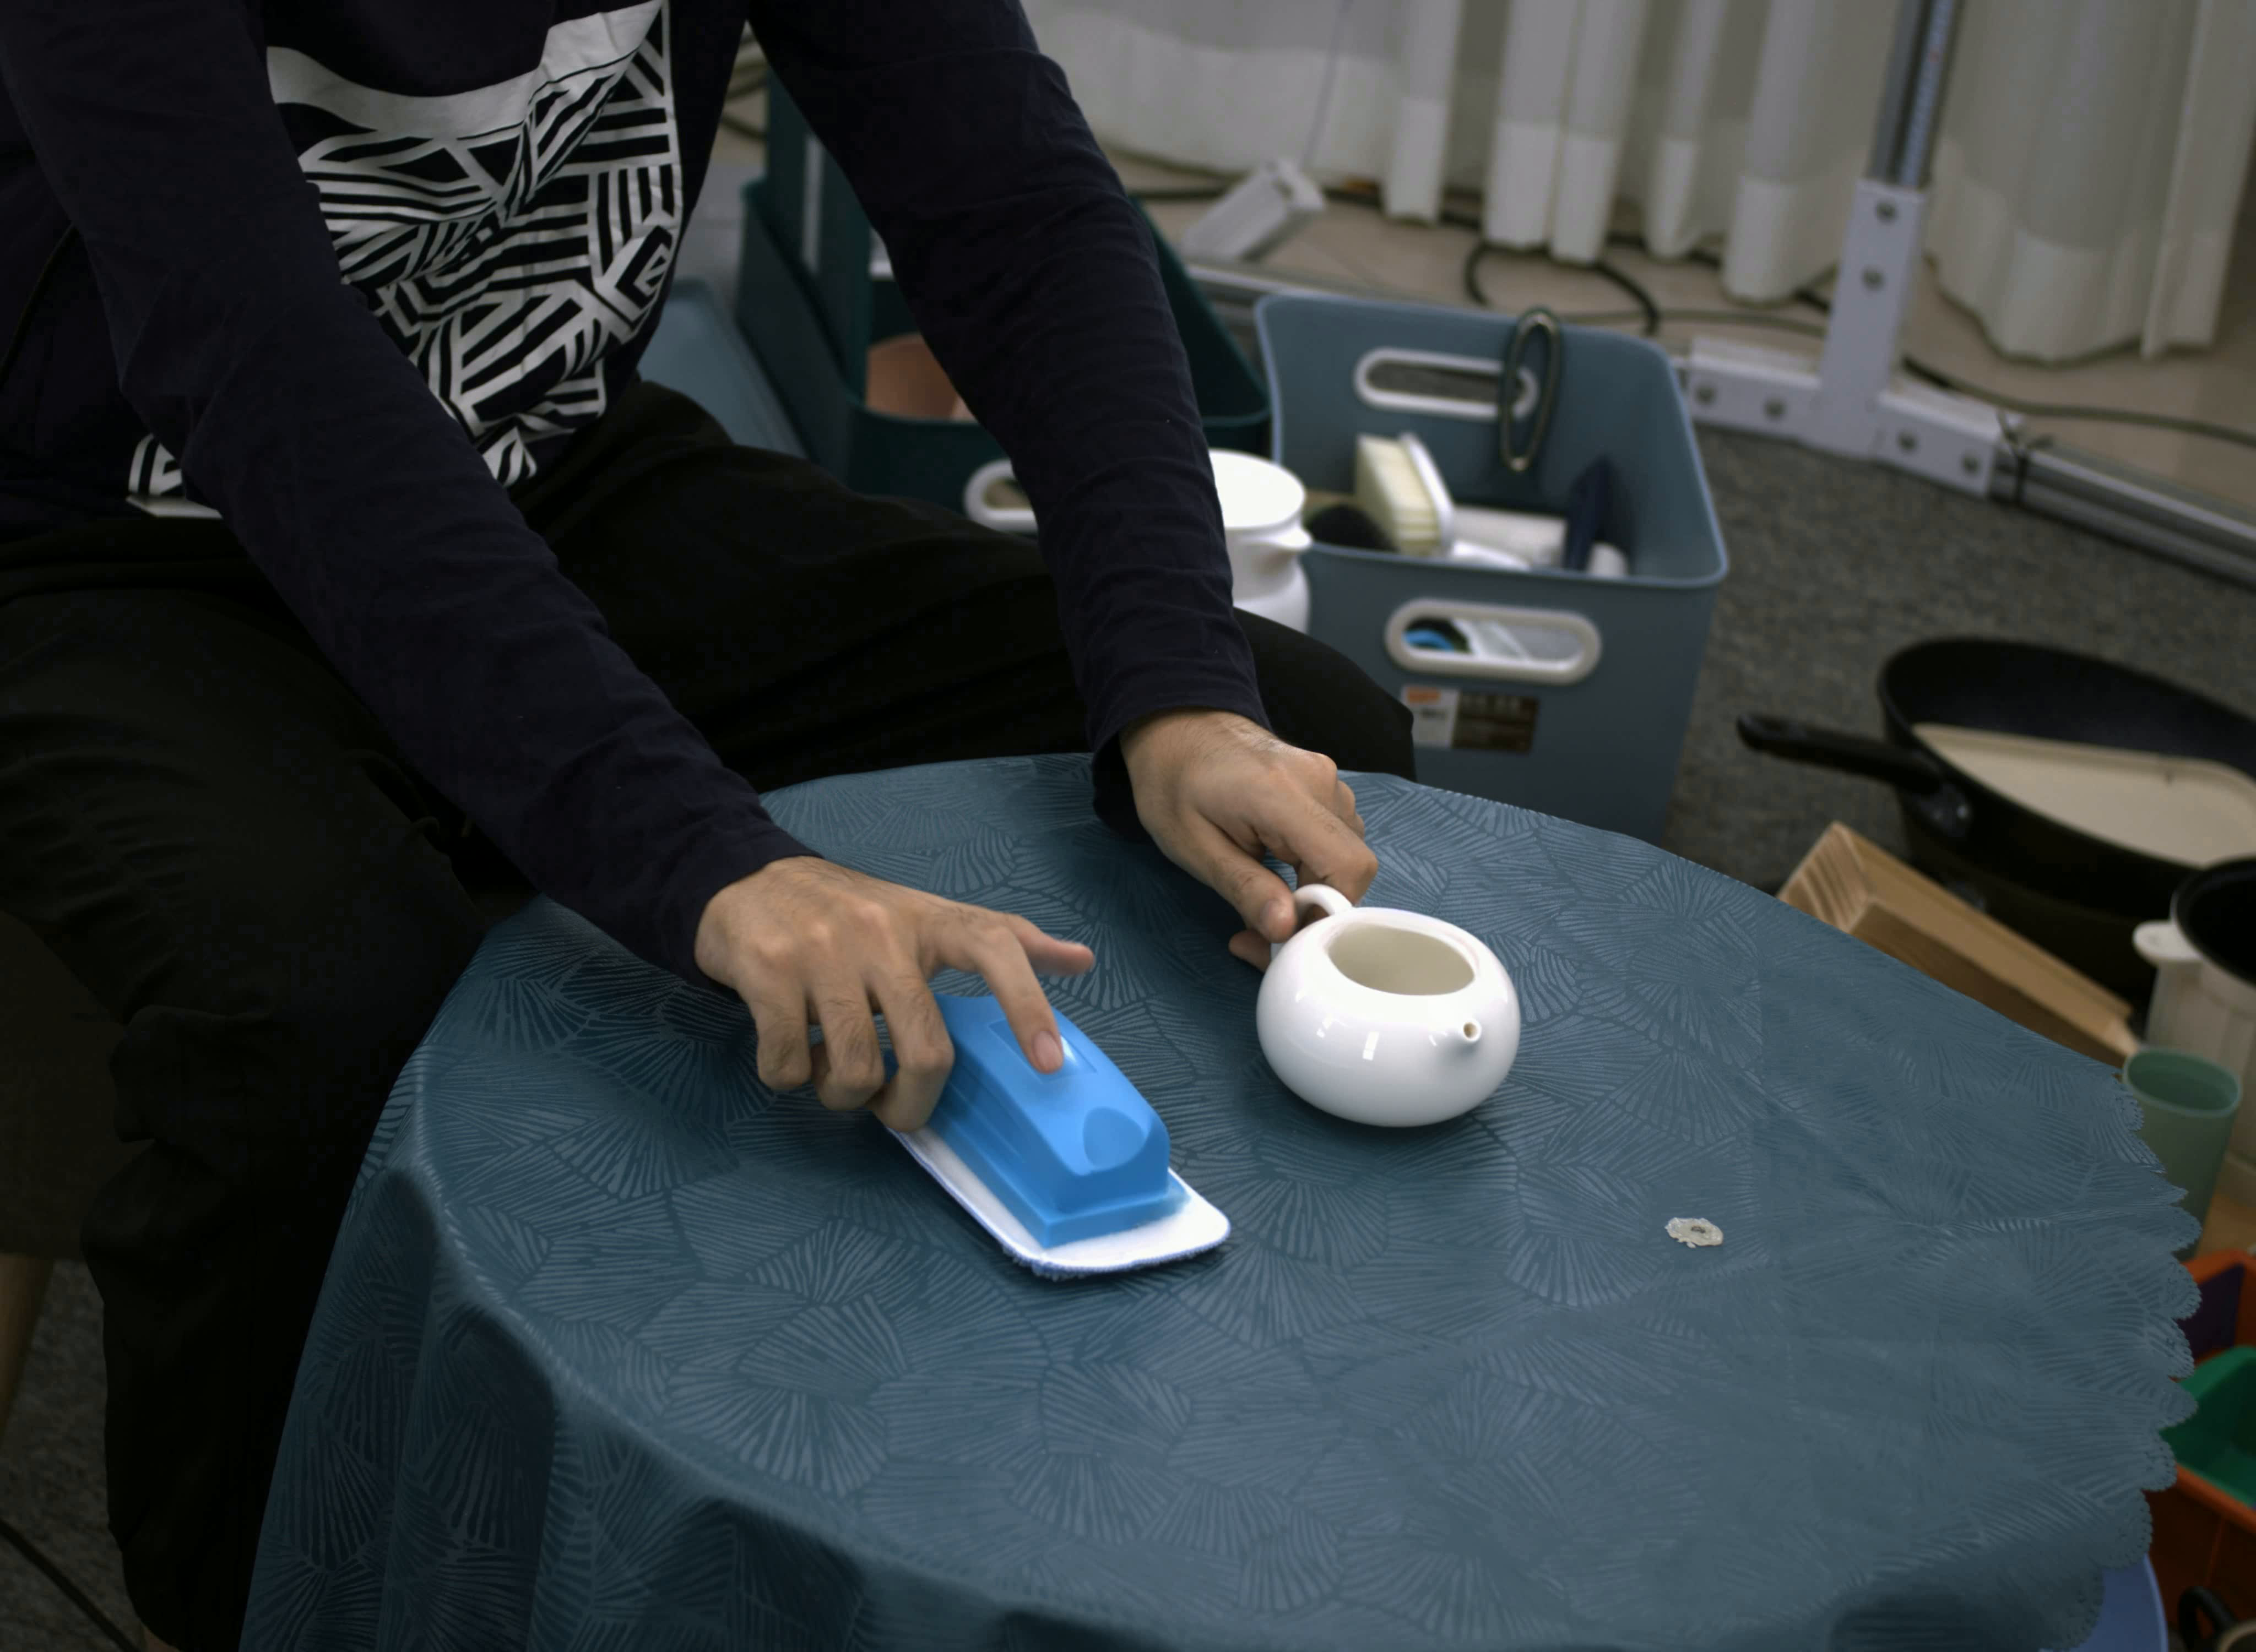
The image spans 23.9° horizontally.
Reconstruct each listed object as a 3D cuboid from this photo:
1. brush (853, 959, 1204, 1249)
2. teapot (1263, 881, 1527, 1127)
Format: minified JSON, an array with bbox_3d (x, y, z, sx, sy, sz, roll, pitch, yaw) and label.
[{"bbox_3d":[-0.031,0.089,1.801,0.083,0.056,0.145,-5,31,-27],"label":"brush"},{"bbox_3d":[0.088,0.063,1.883,0.093,0.056,0.128,-16,35,-30],"label":"teapot"}]
